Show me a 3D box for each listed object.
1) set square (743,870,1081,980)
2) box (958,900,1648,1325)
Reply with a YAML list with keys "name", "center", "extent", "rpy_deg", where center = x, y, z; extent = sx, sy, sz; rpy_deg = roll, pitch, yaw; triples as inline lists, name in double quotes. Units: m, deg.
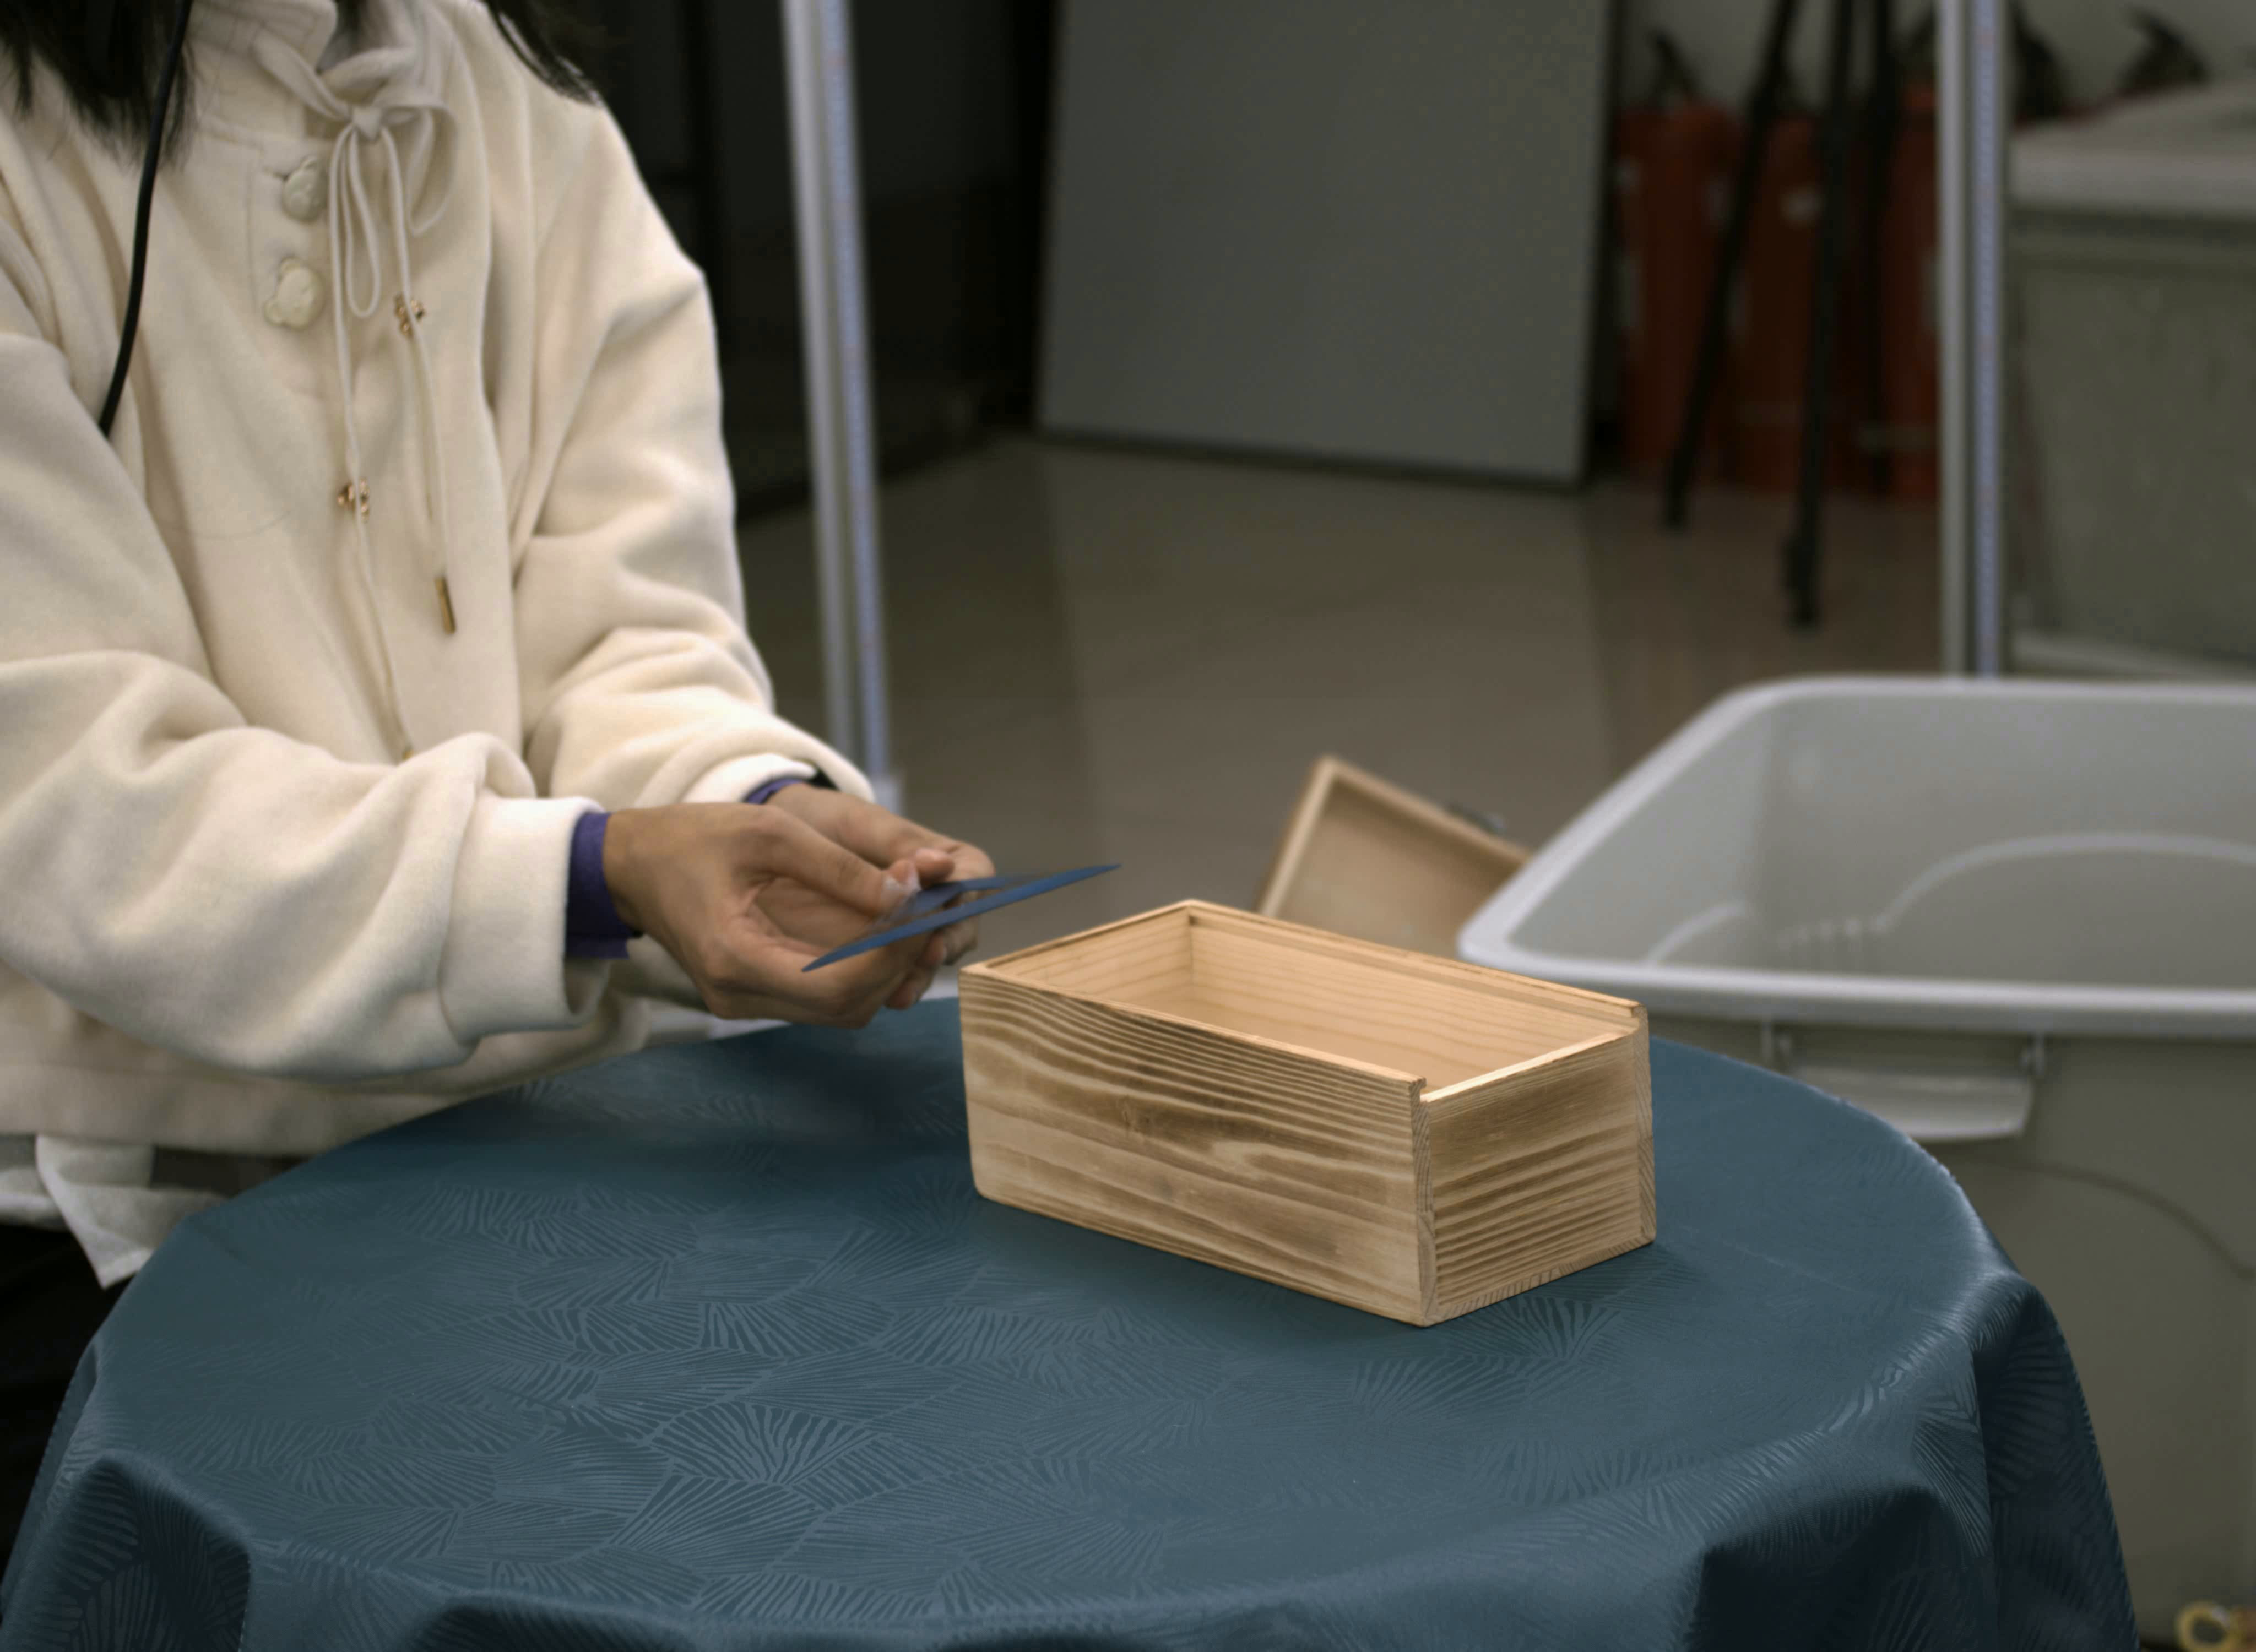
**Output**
- name: "set square"
  center: [-0.083, 0.031, 1.817]
  extent: [0.129, 0.006, 0.062]
  rpy_deg: [-18, 13, -32]
- name: "box"
  center: [0.054, 0.088, 1.721]
  extent: [0.105, 0.081, 0.213]
  rpy_deg: [-14, 17, -40]
